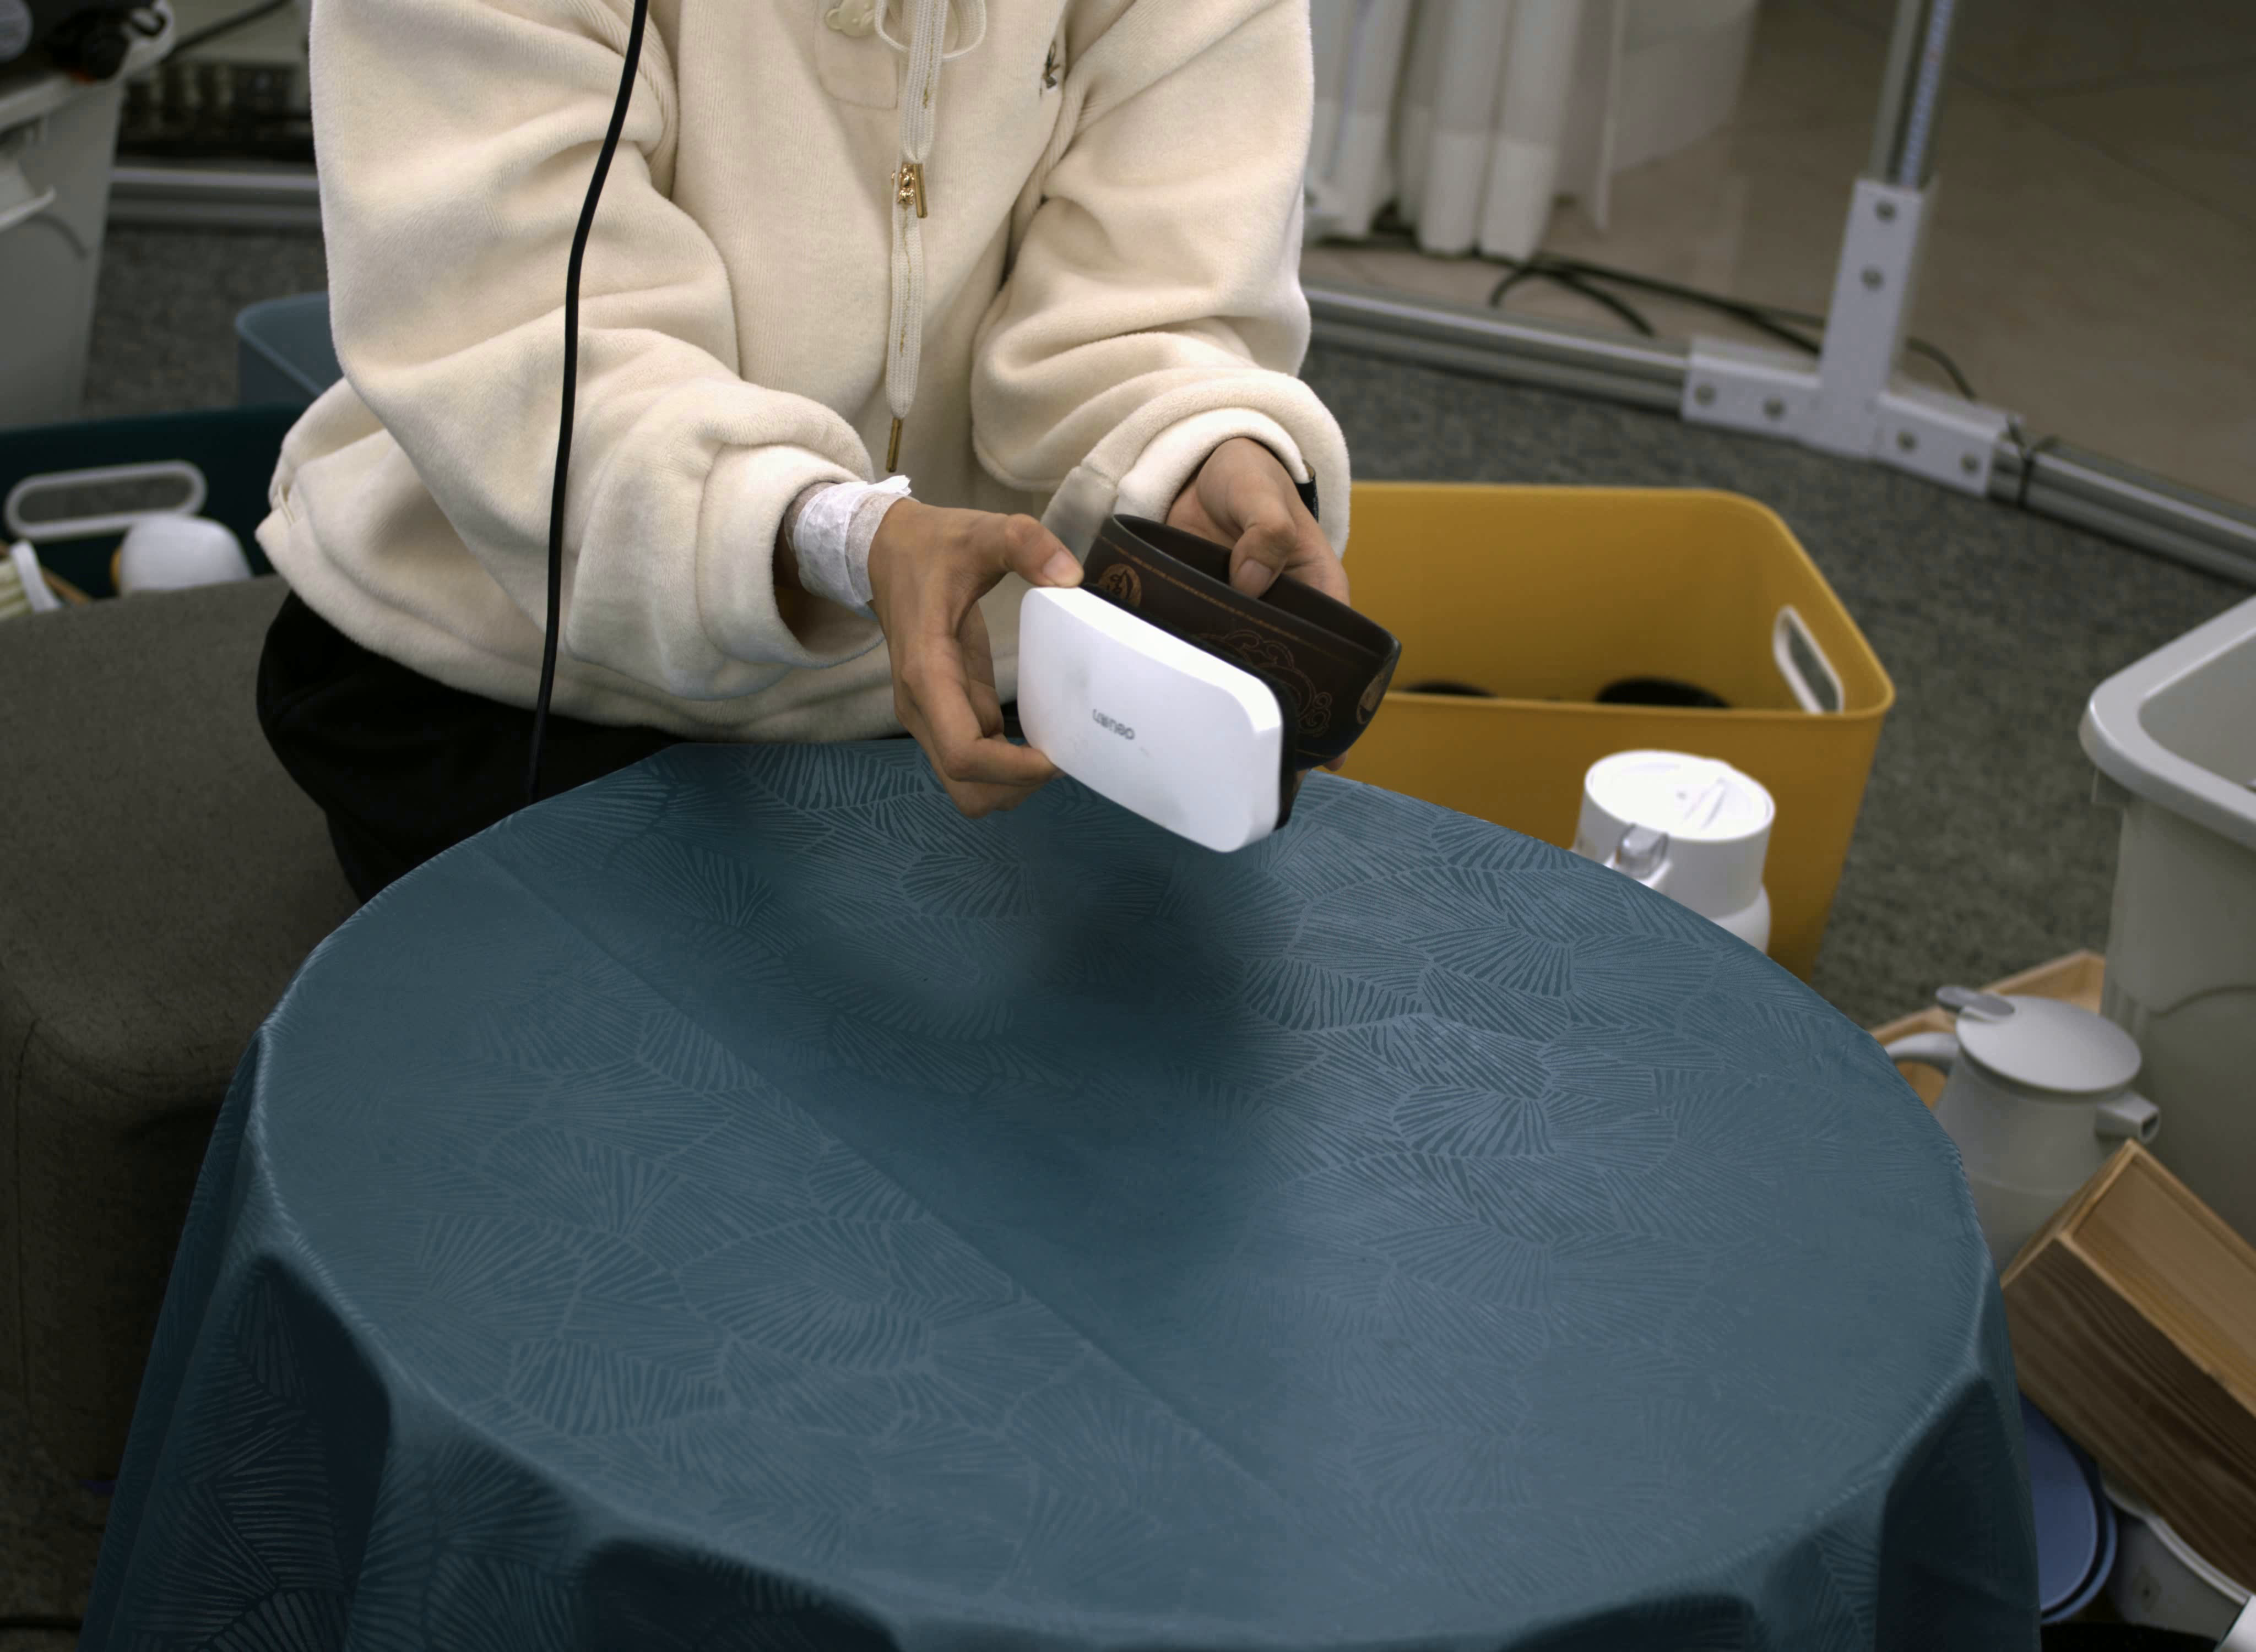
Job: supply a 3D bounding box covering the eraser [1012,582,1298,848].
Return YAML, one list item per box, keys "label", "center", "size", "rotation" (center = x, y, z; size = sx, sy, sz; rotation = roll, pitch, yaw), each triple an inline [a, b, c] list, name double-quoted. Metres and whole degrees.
- label: "eraser"
  center: [0.006, -0.041, 1.823]
  size: [0.034, 0.063, 0.132]
  rotation: [-14, 29, -36]

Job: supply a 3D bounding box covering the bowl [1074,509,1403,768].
- label: "bowl"
  center: [0.032, -0.058, 1.899]
  size: [0.117, 0.070, 0.118]
  rotation: [25, 7, -4]
